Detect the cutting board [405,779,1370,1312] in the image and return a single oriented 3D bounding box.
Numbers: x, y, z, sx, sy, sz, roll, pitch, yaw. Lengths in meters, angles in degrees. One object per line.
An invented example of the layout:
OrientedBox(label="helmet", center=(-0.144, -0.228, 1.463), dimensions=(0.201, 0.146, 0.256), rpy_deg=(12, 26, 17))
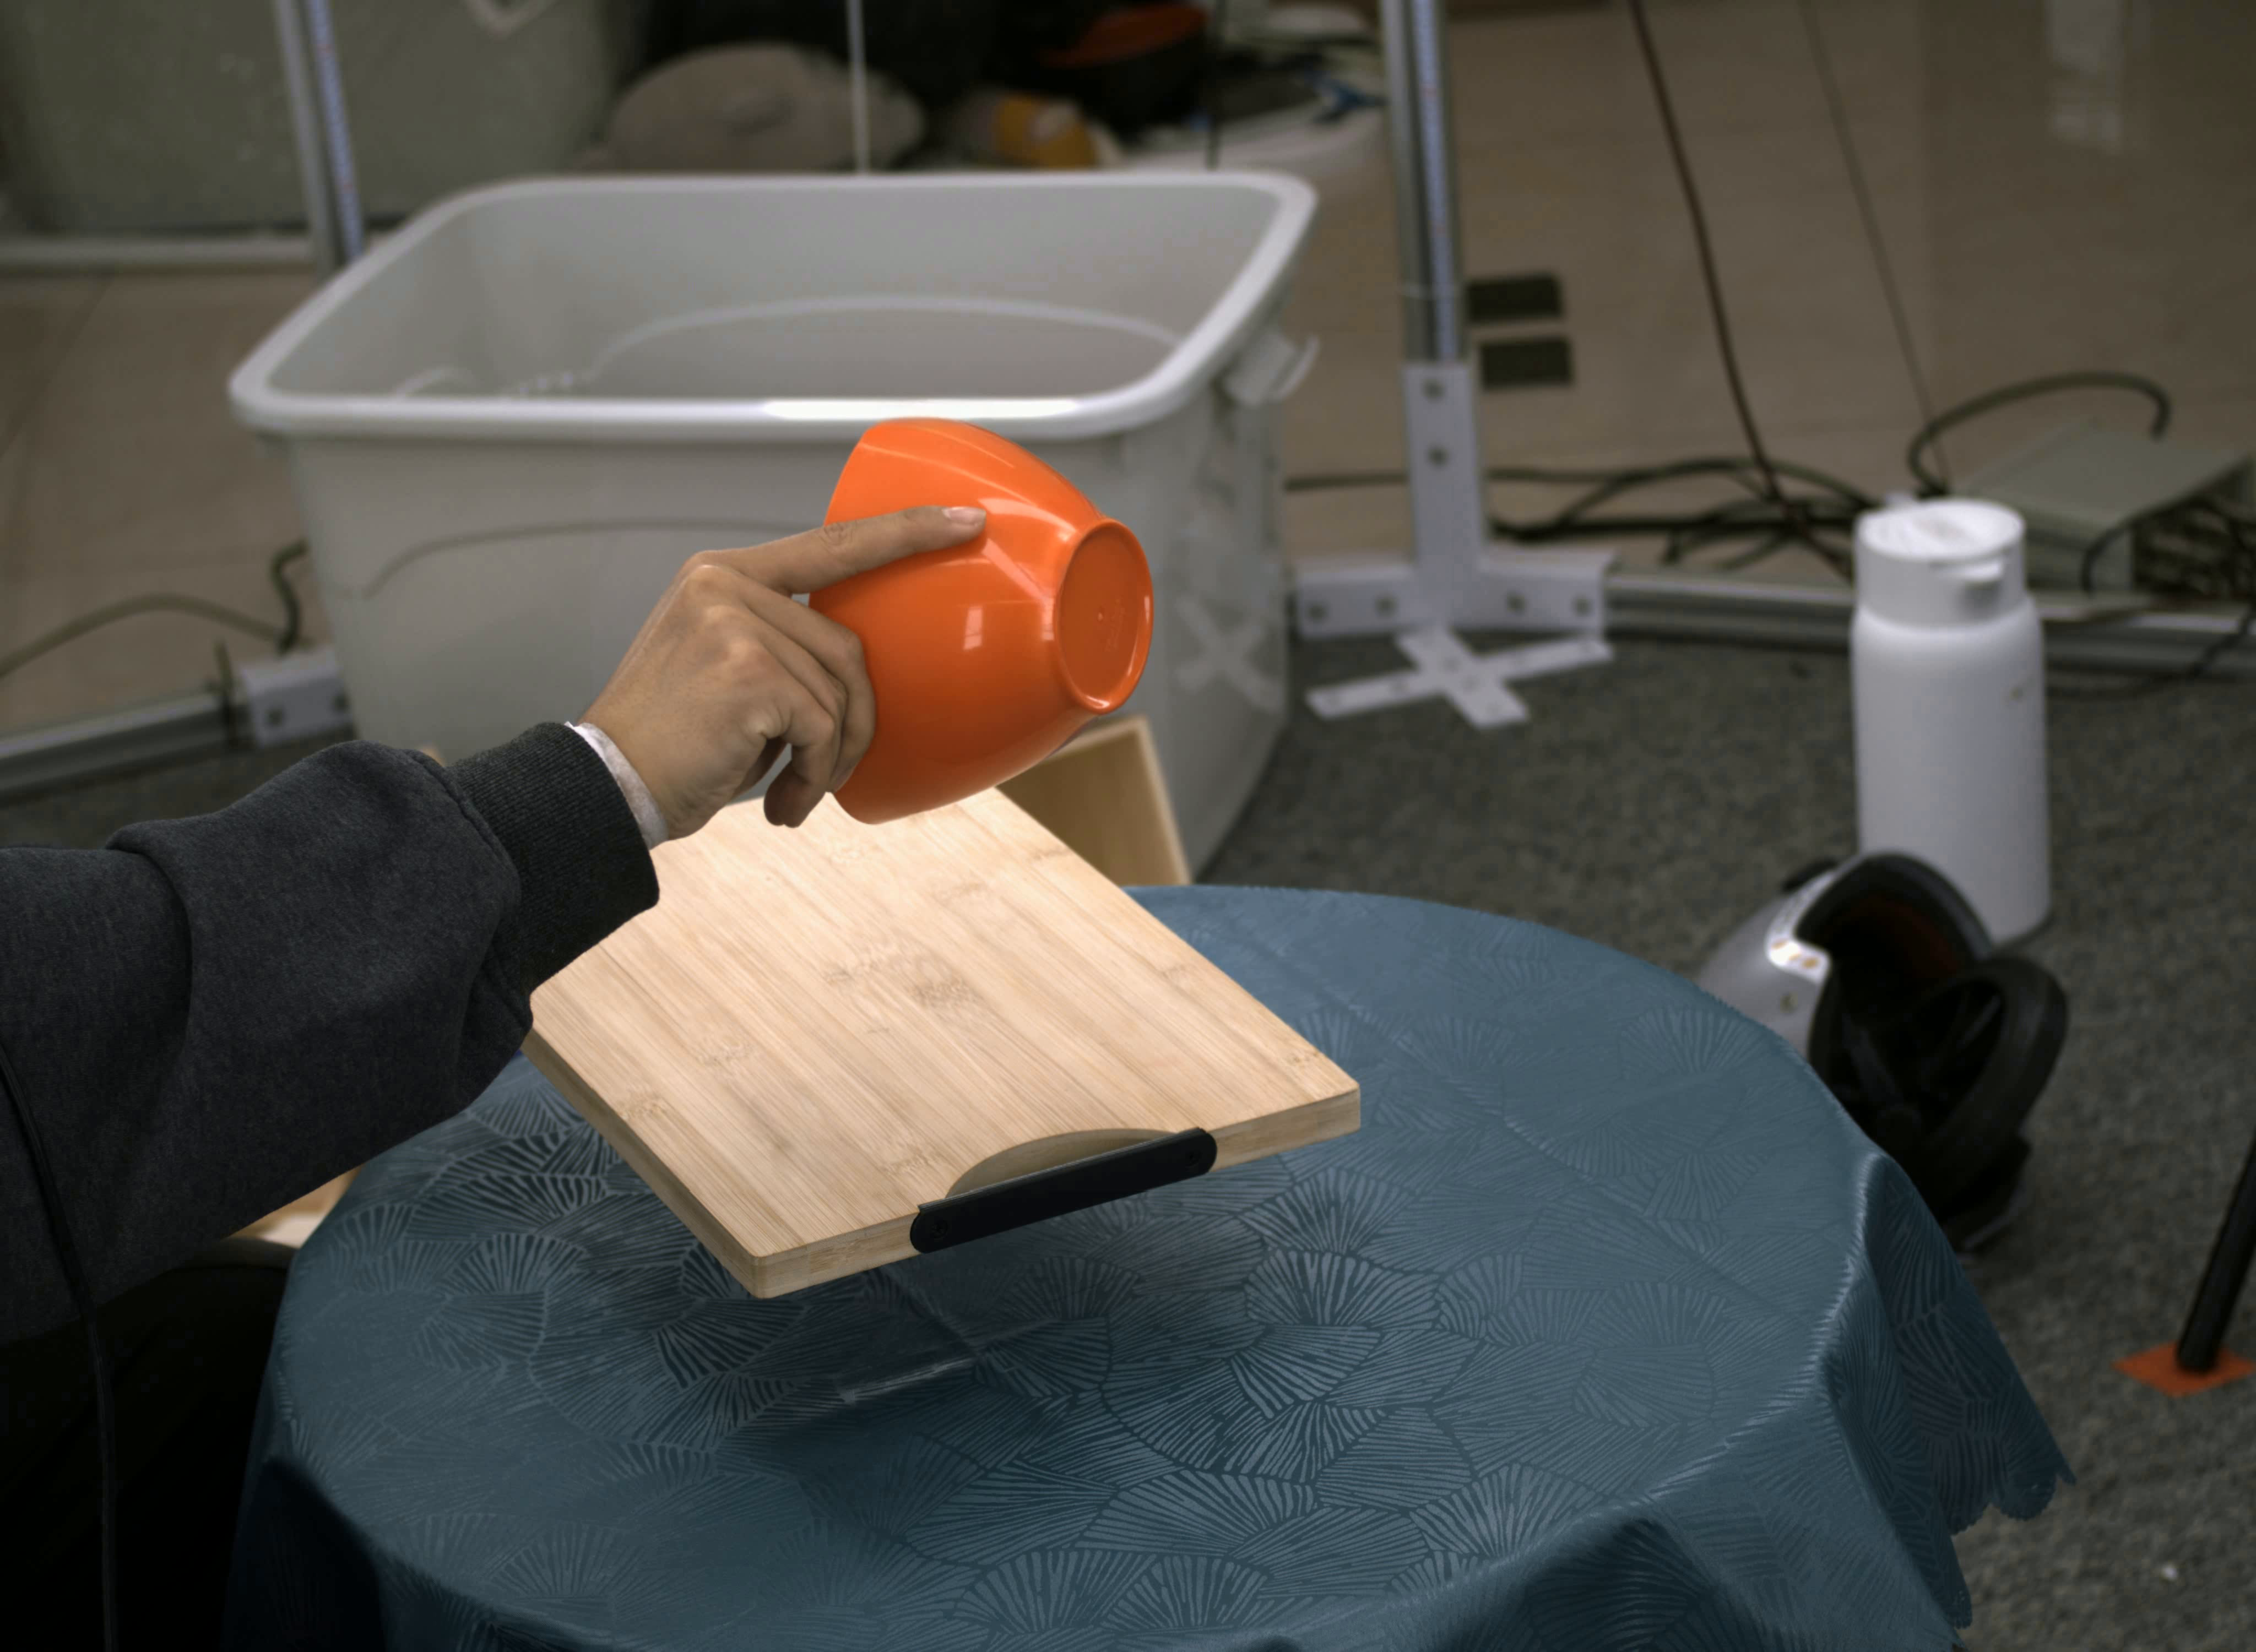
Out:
OrientedBox(label="cutting board", center=(-0.097, 0.069, 2.112), dimensions=(0.249, 0.024, 0.344), rpy_deg=(-15, 28, -24))

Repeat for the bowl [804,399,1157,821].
OrientedBox(label="bowl", center=(-0.045, -0.072, 1.949), dimensions=(0.104, 0.150, 0.146), rpy_deg=(7, 28, 30))
